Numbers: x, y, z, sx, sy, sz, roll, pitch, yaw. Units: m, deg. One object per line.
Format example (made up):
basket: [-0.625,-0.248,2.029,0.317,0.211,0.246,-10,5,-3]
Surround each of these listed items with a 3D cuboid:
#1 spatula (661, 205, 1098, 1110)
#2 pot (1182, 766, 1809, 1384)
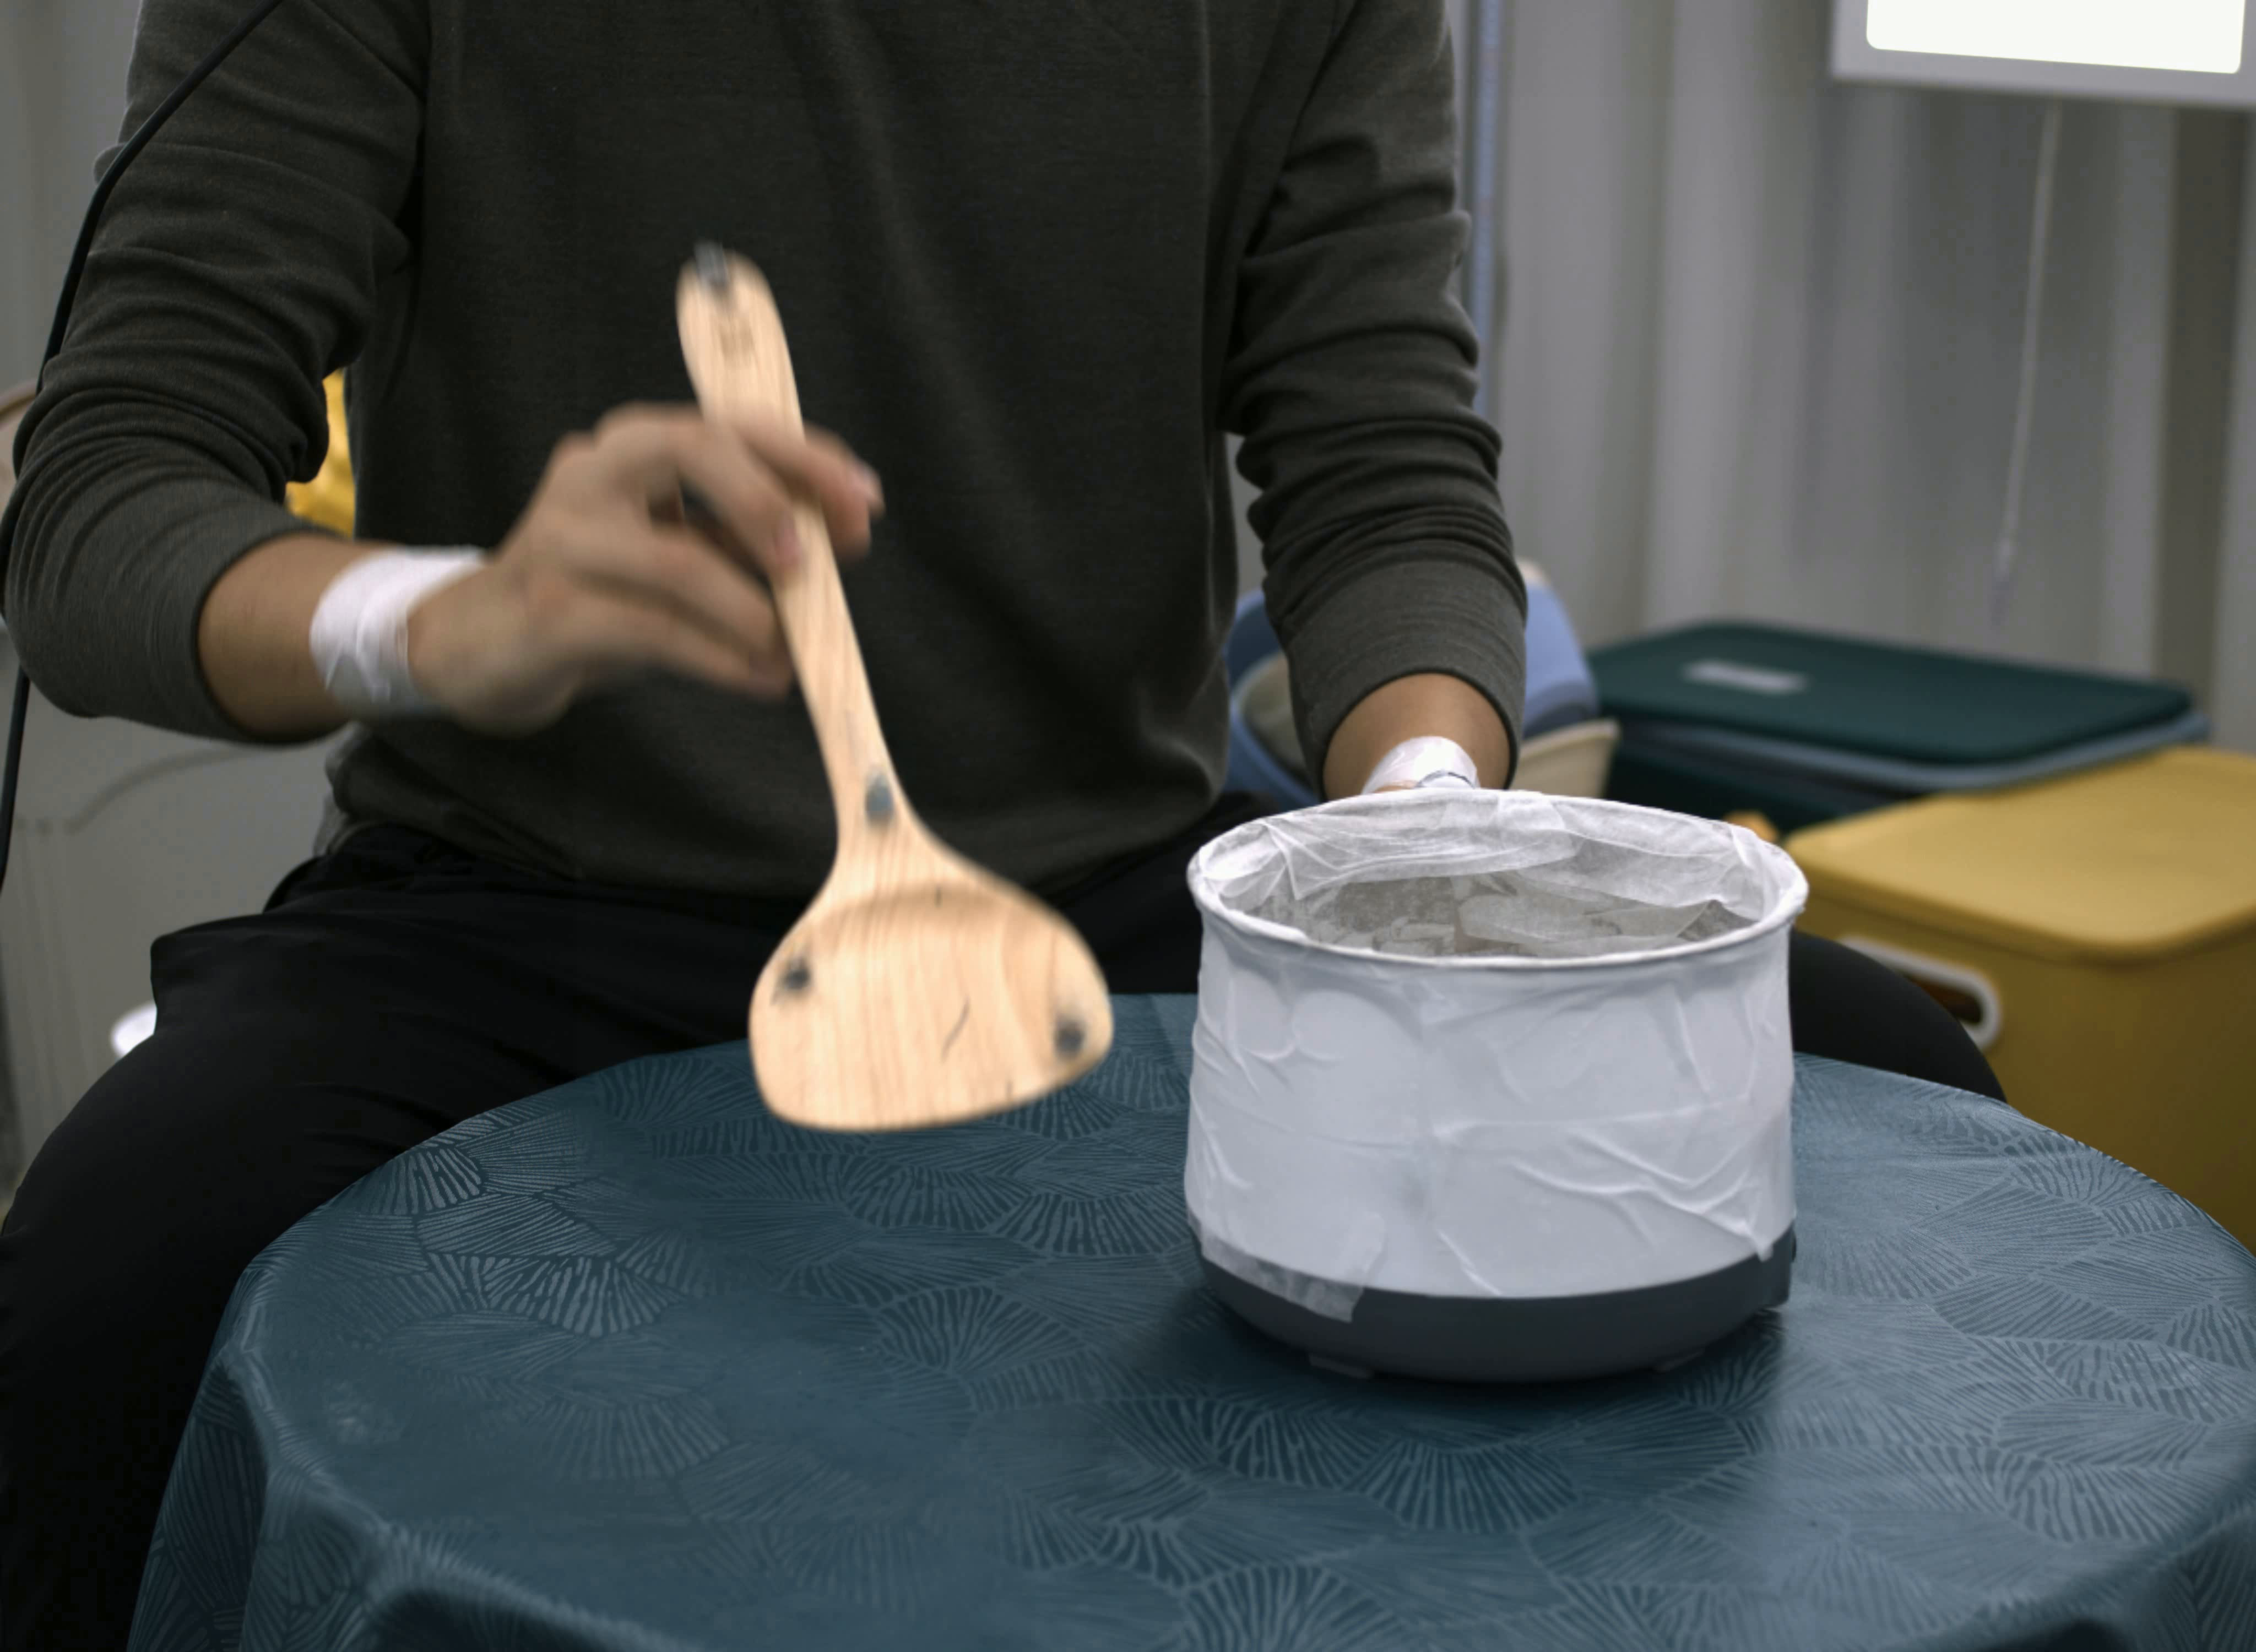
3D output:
spatula: [-0.091,-0.058,1.460,0.095,0.019,0.386,-12,45,-7]
pot: [0.101,0.067,1.536,0.178,0.138,0.232,-1,16,-6]
